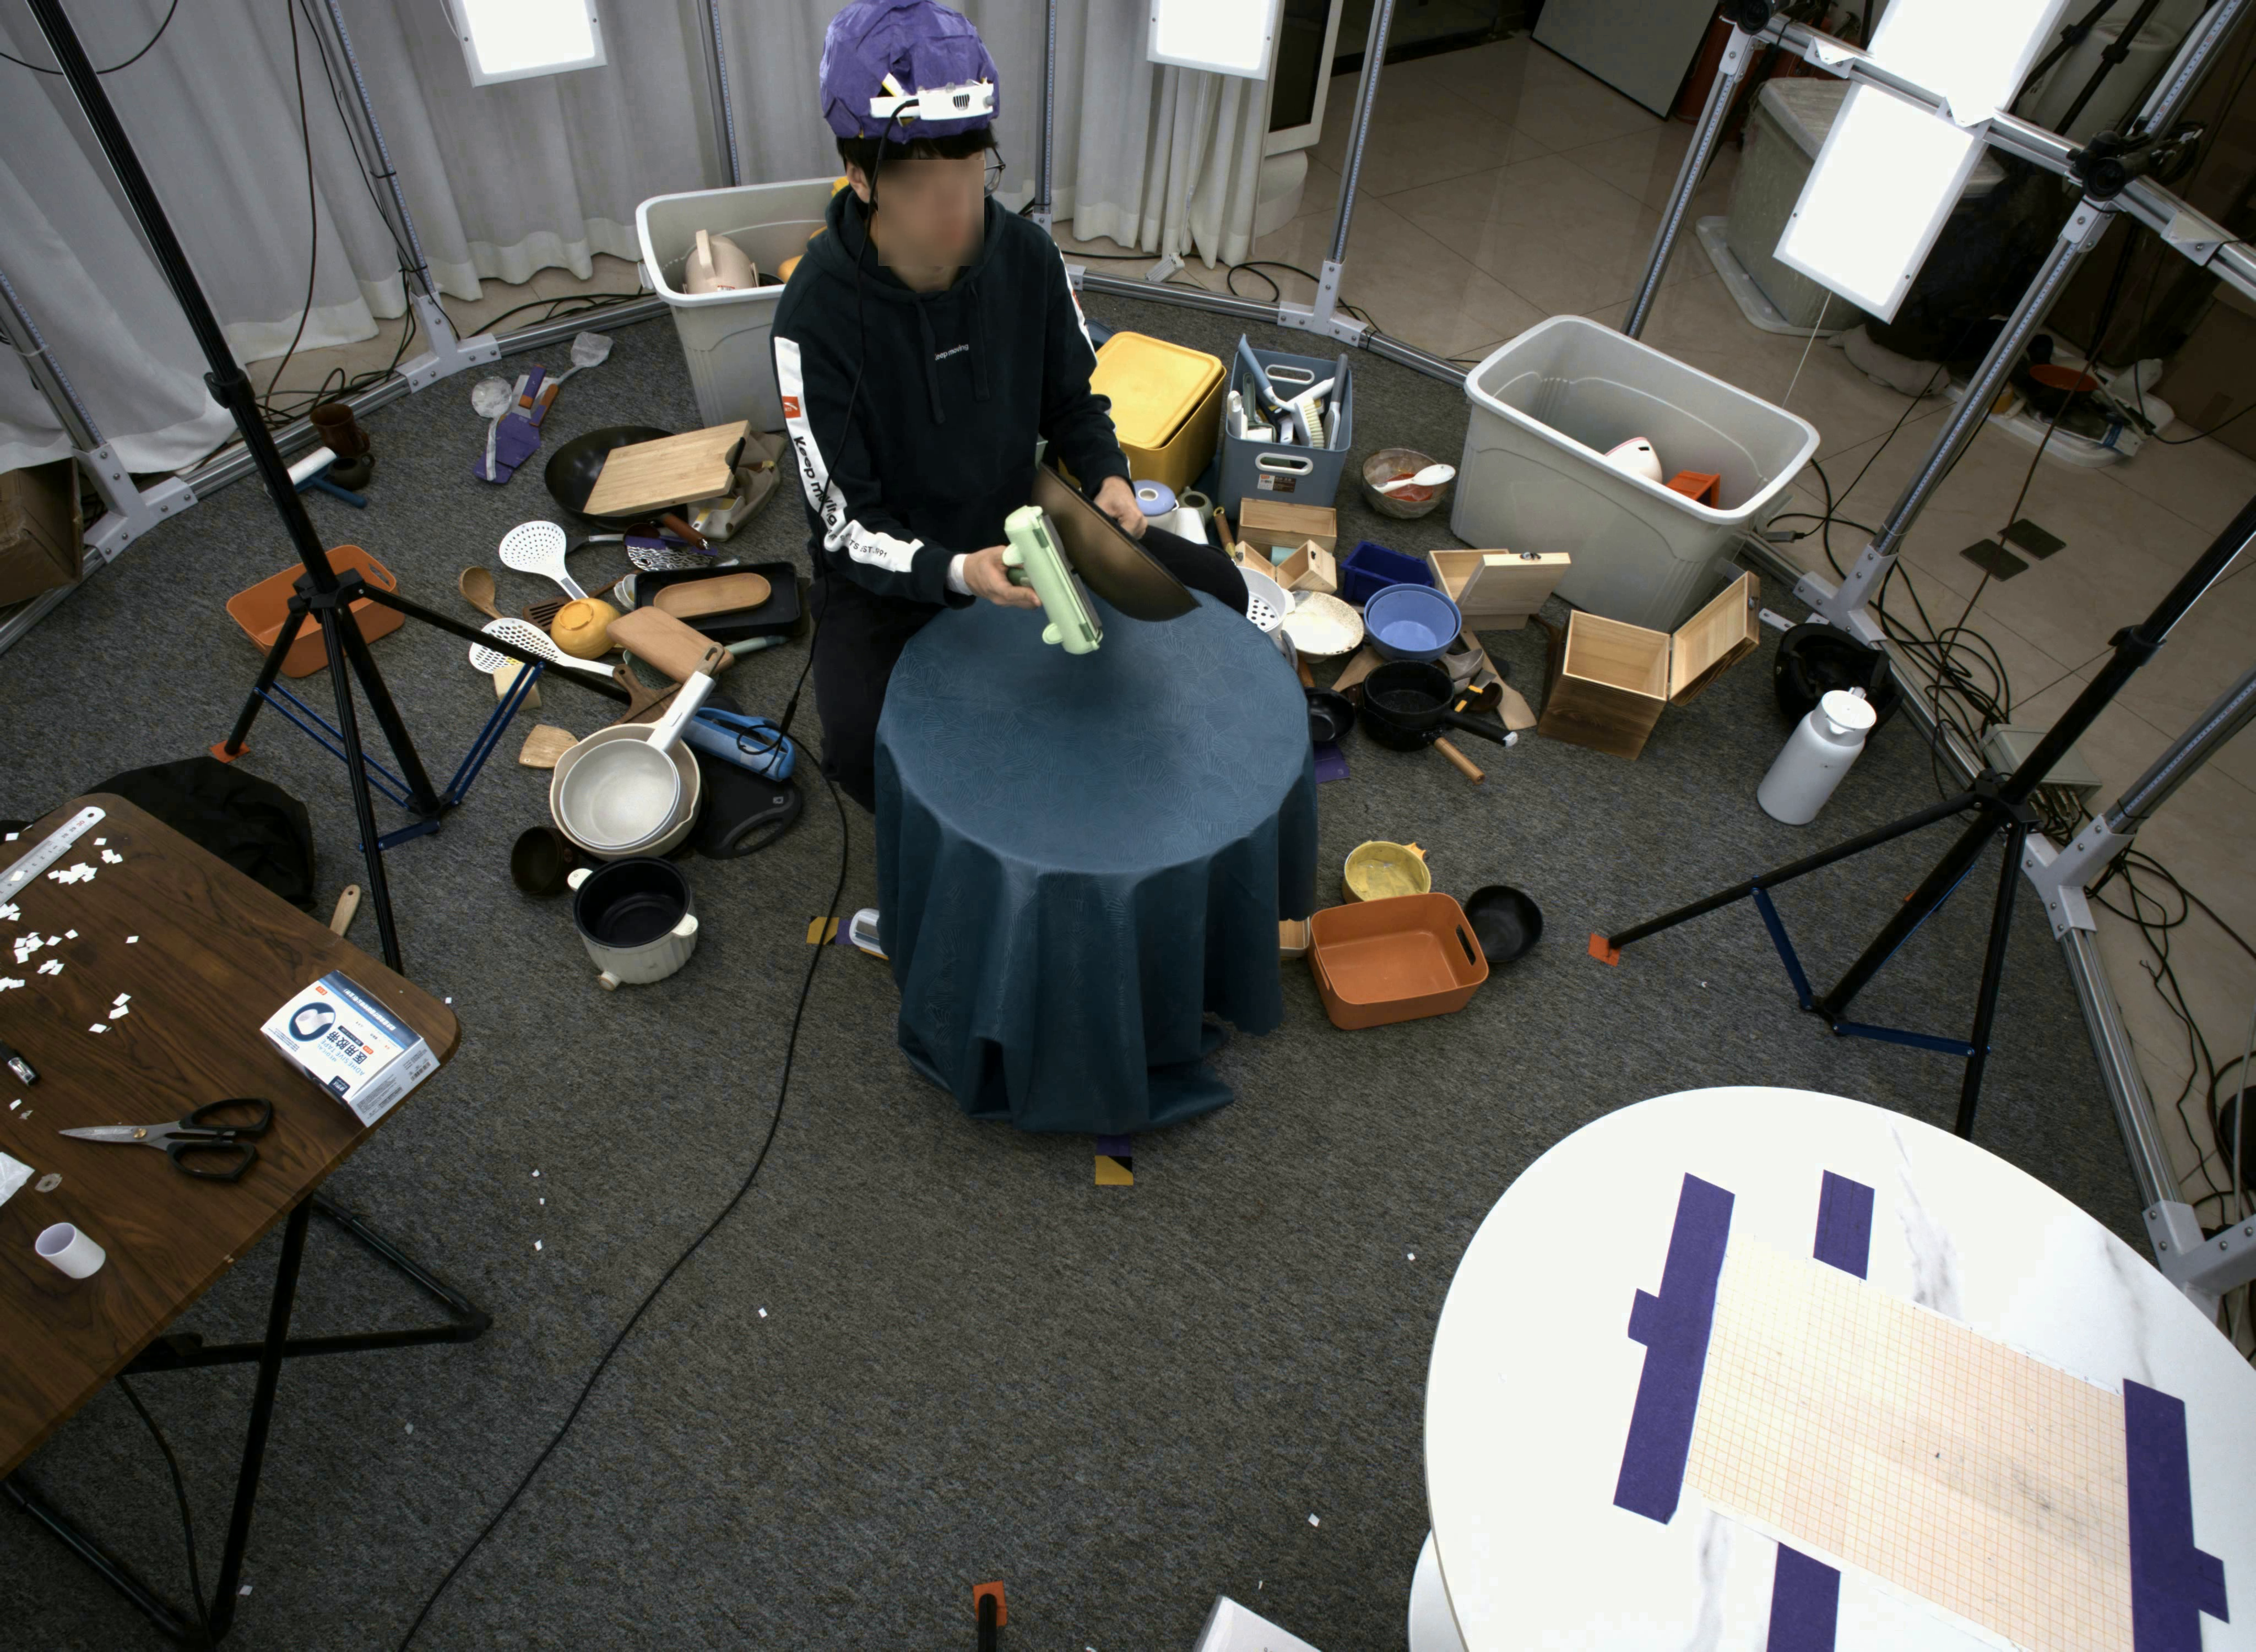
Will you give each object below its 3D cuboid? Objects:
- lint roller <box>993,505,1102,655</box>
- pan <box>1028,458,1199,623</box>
[{"bbox_3d":[-0.136,-0.310,1.658,0.185,0.195,0.083,9,45,49],"label":"lint roller"},{"bbox_3d":[-0.039,-0.387,1.790,0.285,0.086,0.470,40,11,-14],"label":"pan"}]
